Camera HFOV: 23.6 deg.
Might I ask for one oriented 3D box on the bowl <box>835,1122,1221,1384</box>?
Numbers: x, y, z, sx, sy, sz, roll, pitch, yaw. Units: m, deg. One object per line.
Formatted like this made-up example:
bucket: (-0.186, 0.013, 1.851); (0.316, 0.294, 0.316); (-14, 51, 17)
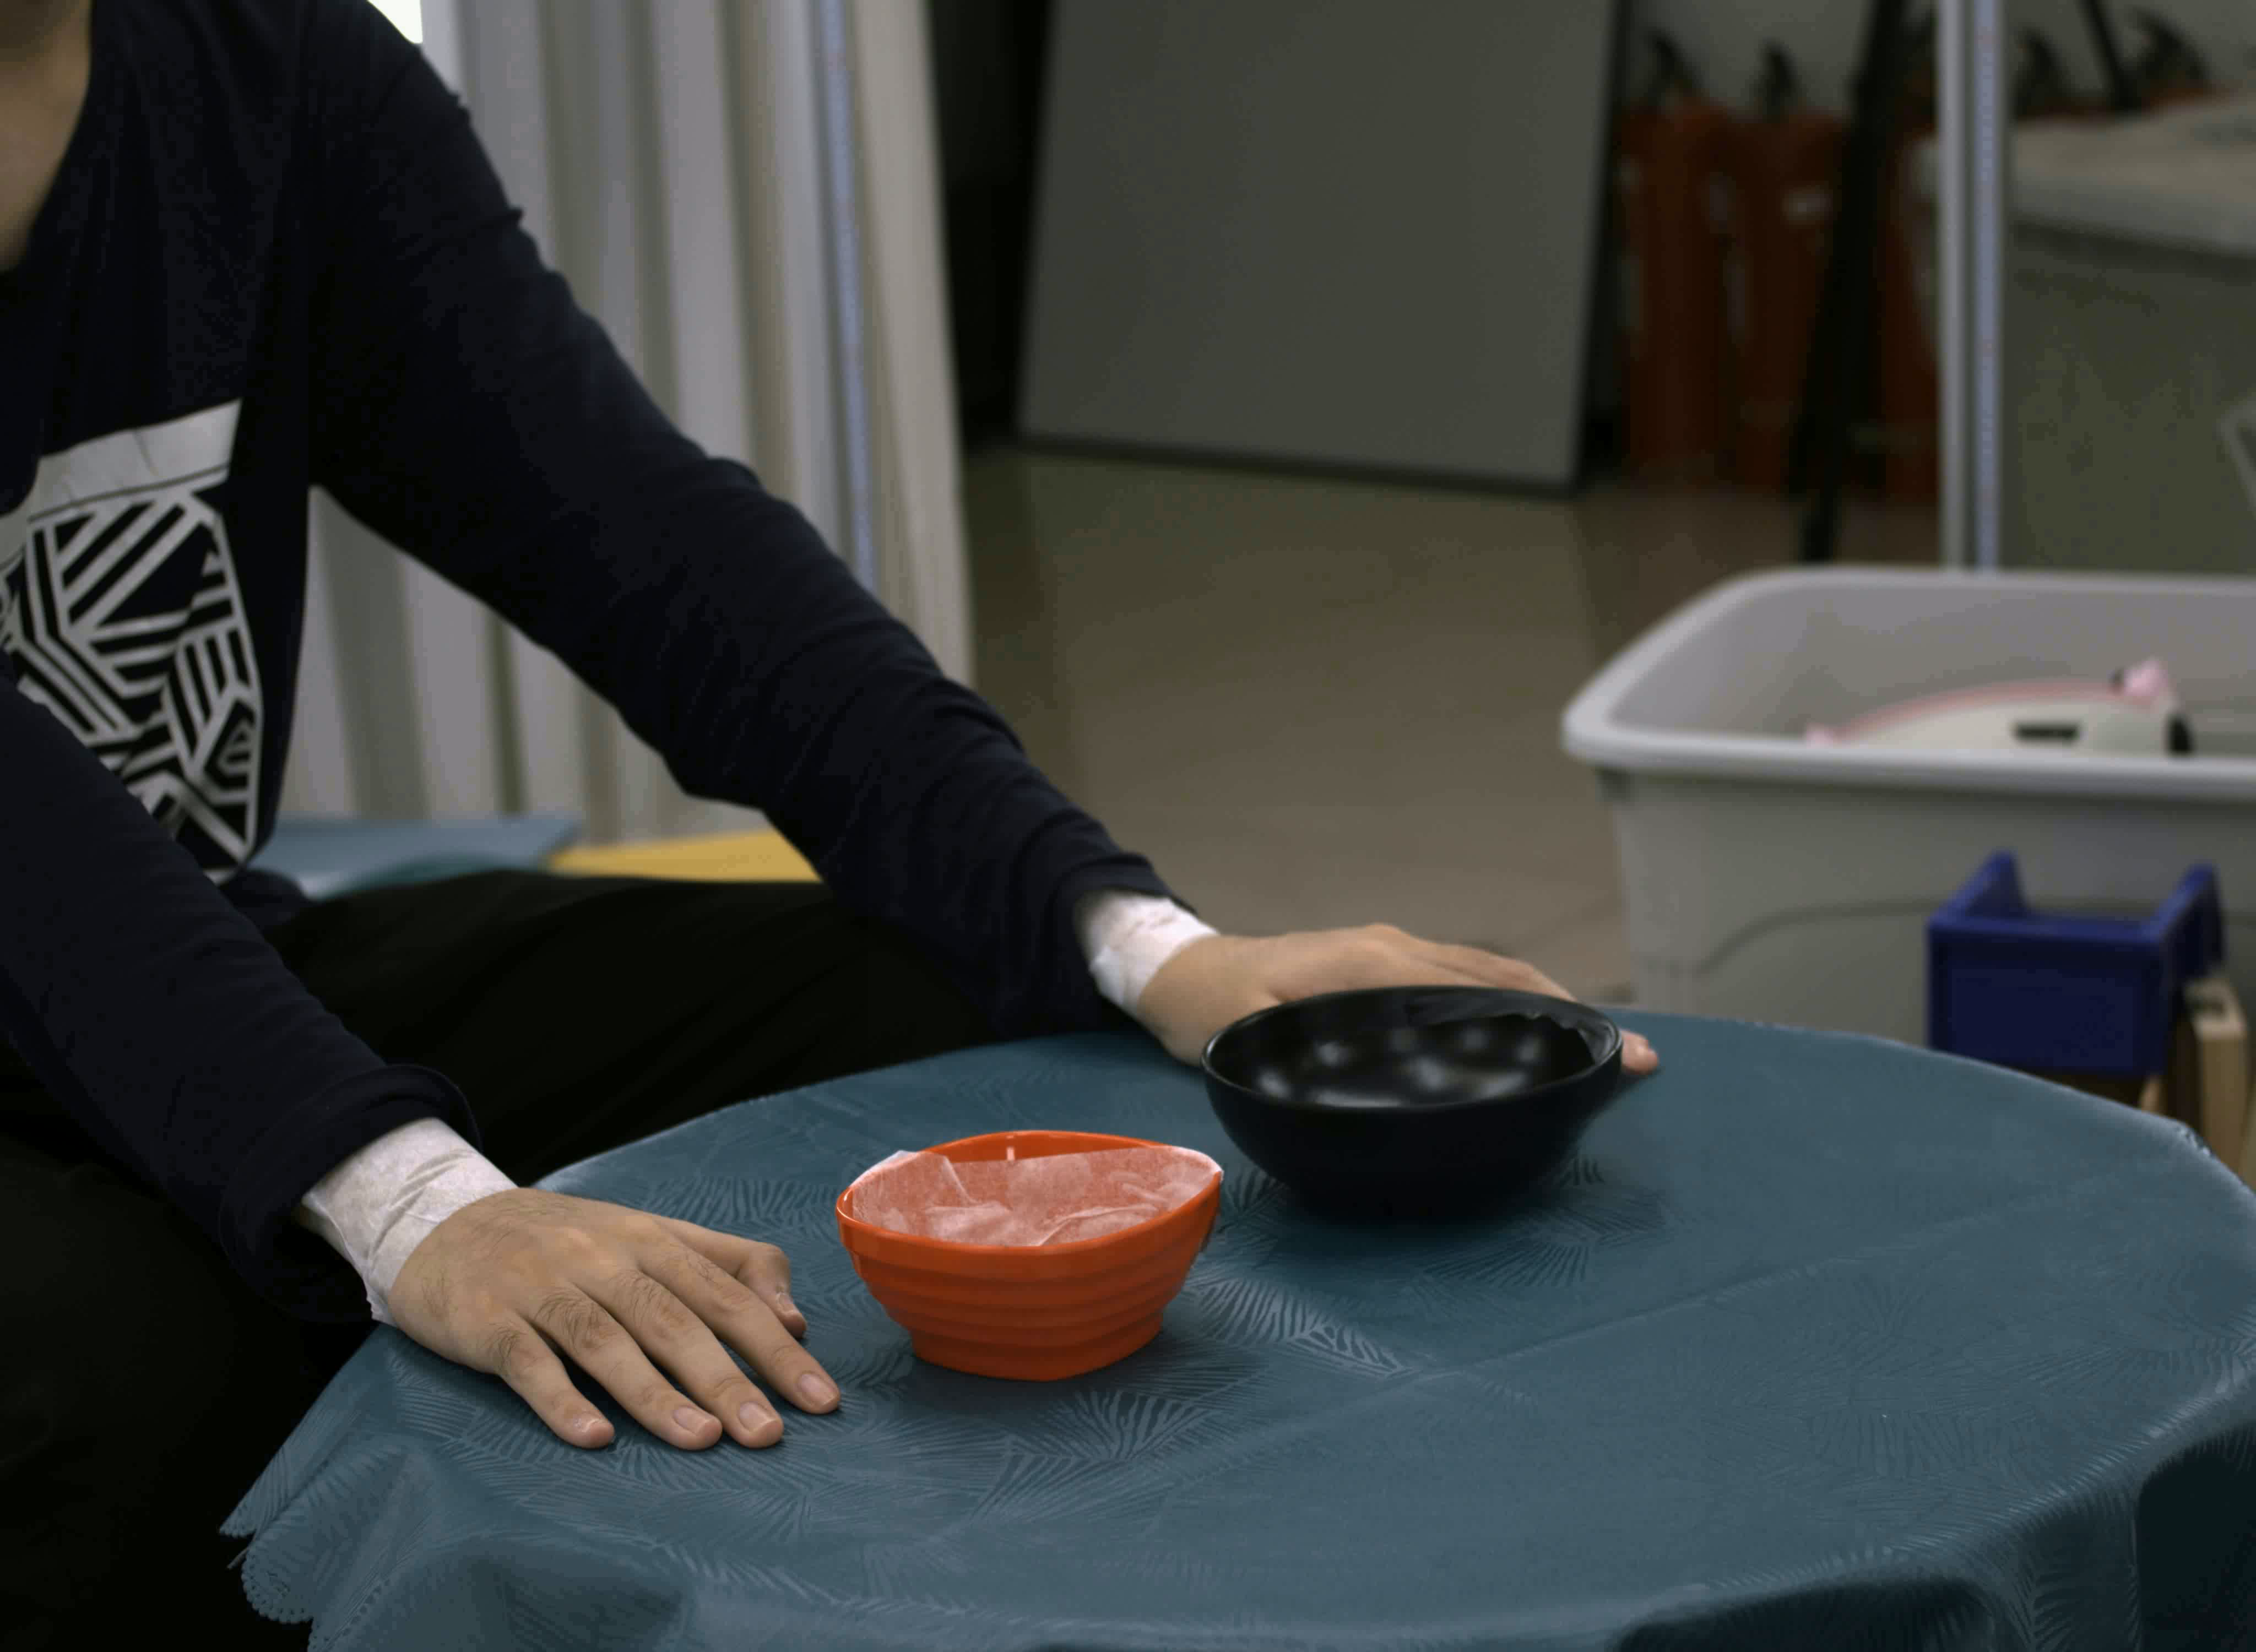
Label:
bowl: (-0.029, 0.131, 1.630); (0.117, 0.052, 0.119); (-3, 15, 0)

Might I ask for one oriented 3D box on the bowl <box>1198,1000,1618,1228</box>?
bowl: (0.093, 0.097, 1.754); (0.138, 0.050, 0.140); (-7, 11, 0)
